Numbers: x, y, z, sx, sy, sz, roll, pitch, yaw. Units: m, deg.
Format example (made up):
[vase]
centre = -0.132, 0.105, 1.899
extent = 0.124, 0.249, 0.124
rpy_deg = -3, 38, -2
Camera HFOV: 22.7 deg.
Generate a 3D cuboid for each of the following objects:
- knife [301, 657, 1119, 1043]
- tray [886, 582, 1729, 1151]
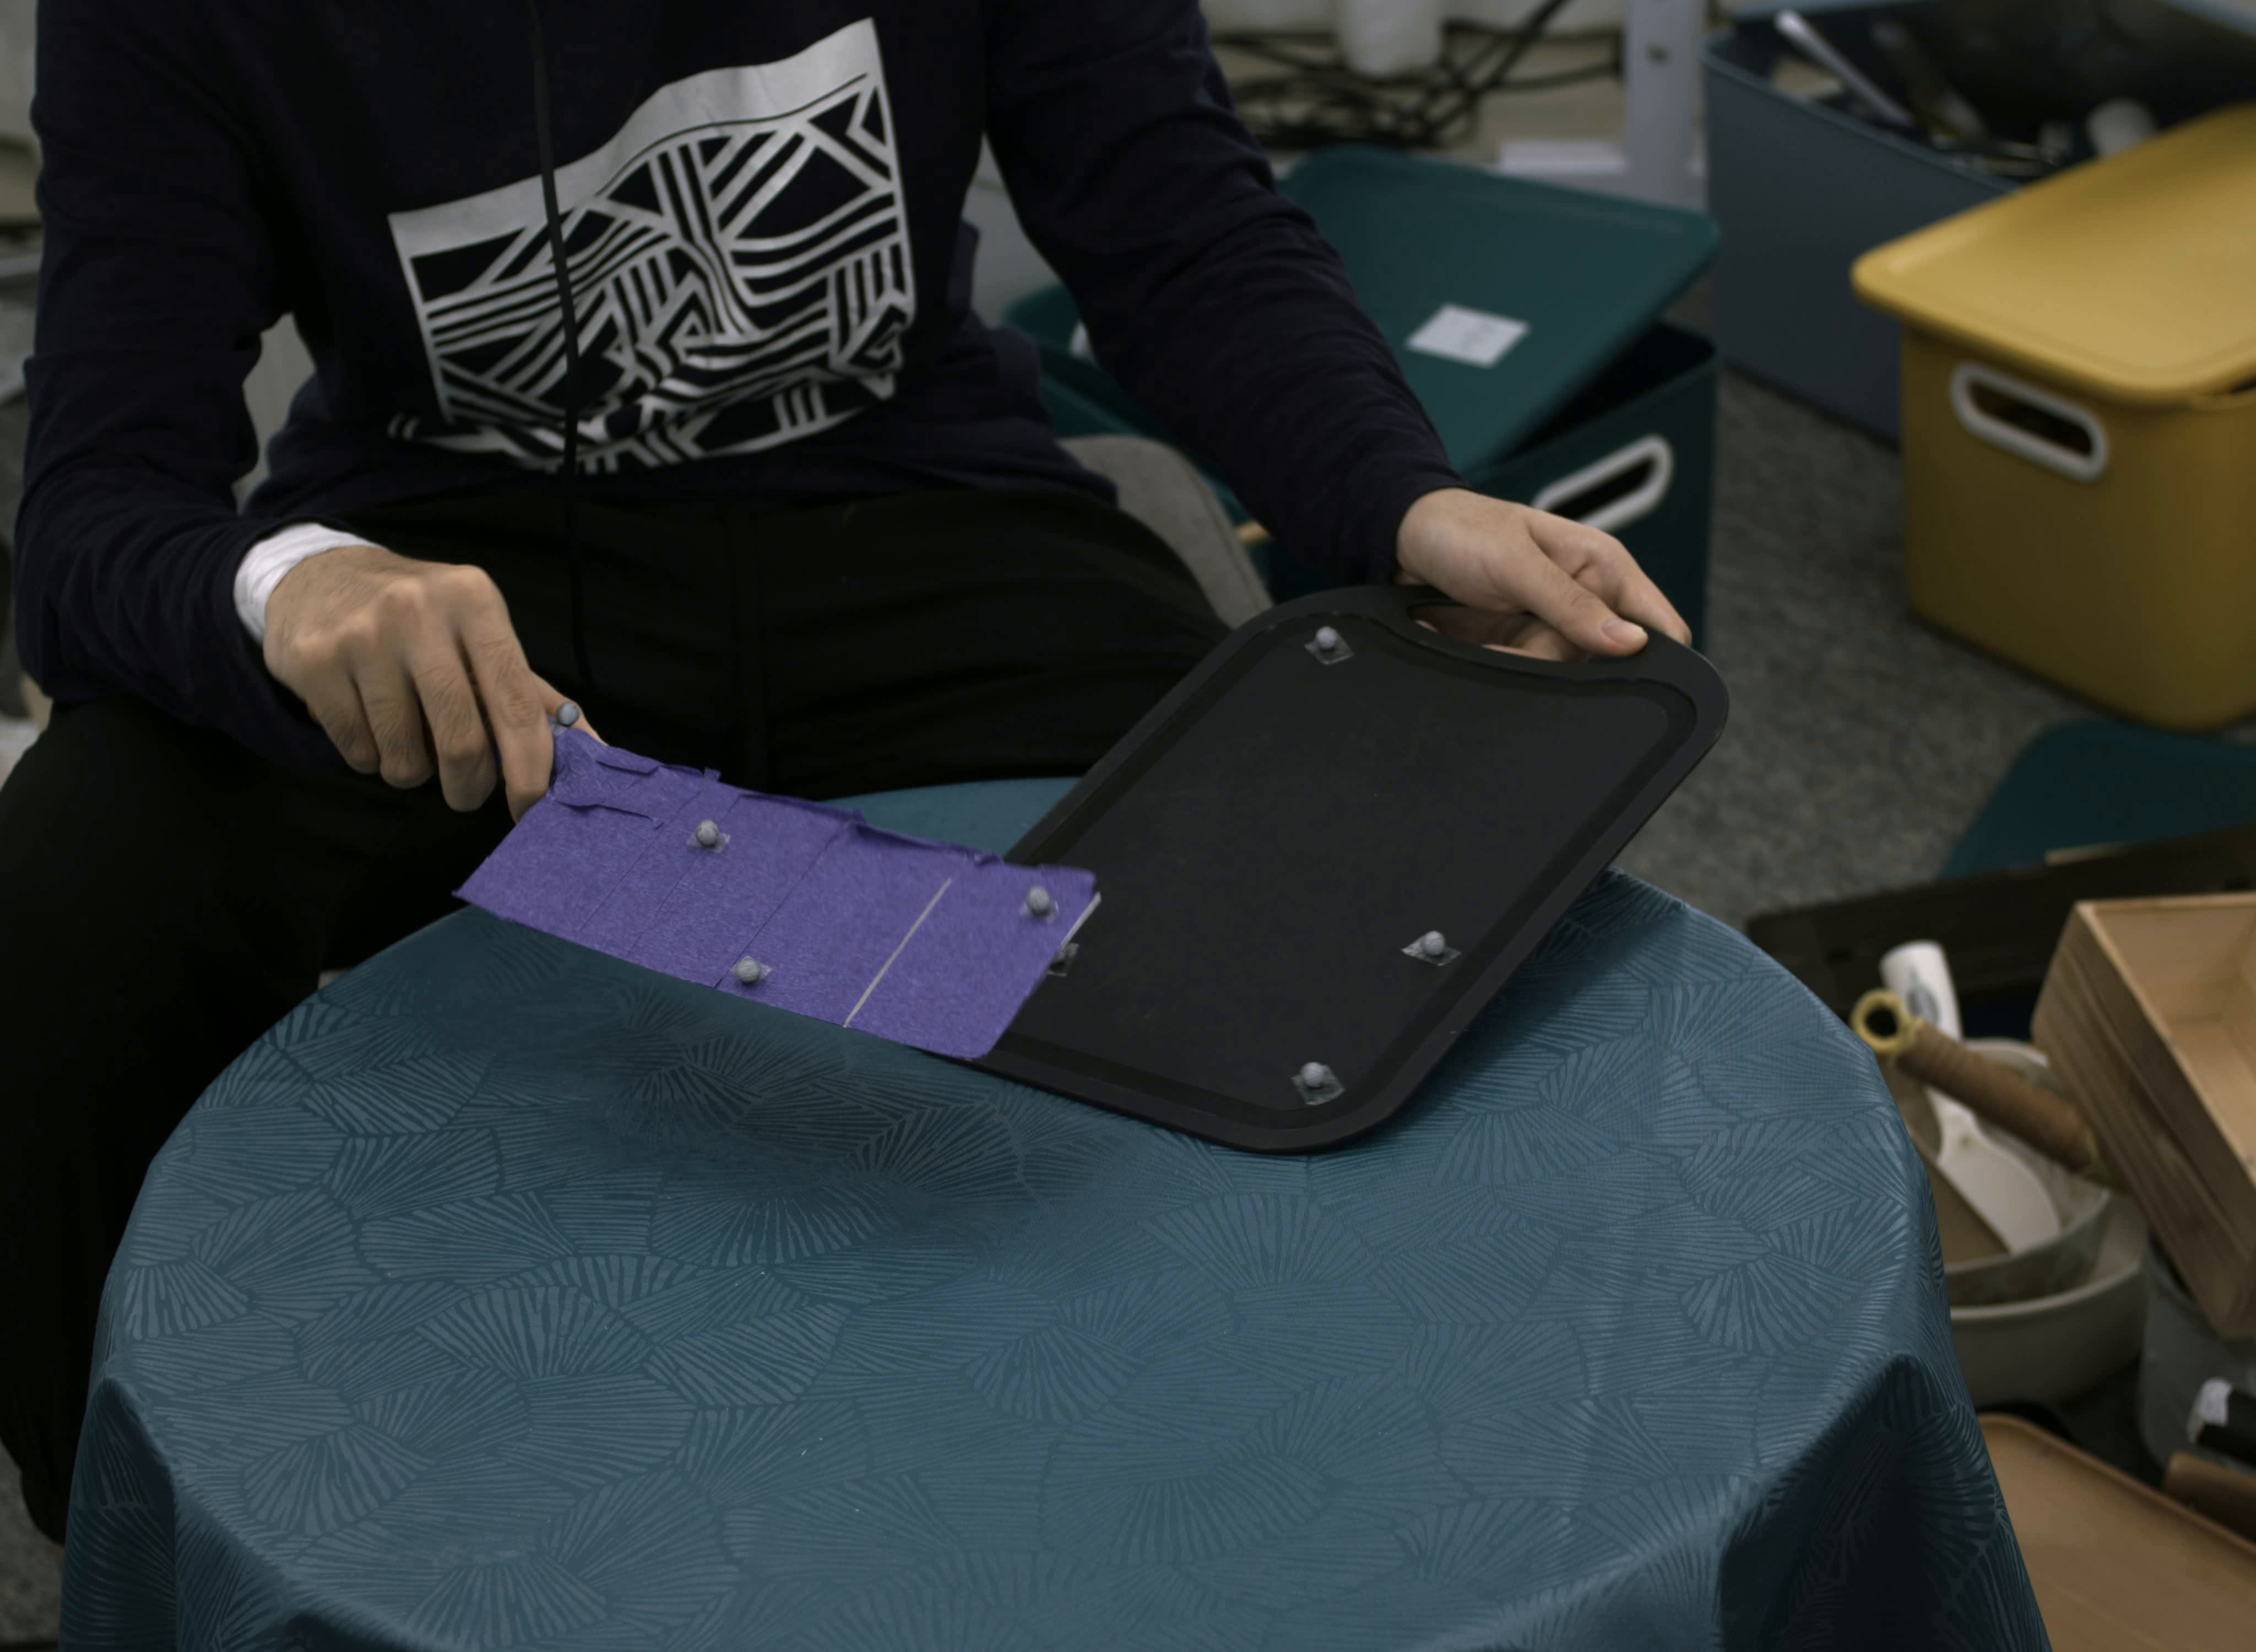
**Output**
[knife]
centre = -0.162, 0.007, 1.905
extent = 0.313, 0.032, 0.106
rpy_deg = 15, 41, 24
[tray]
centre = 0.070, 0.002, 2.019
extent = 0.210, 0.009, 0.331
rpy_deg = 15, 42, 32
